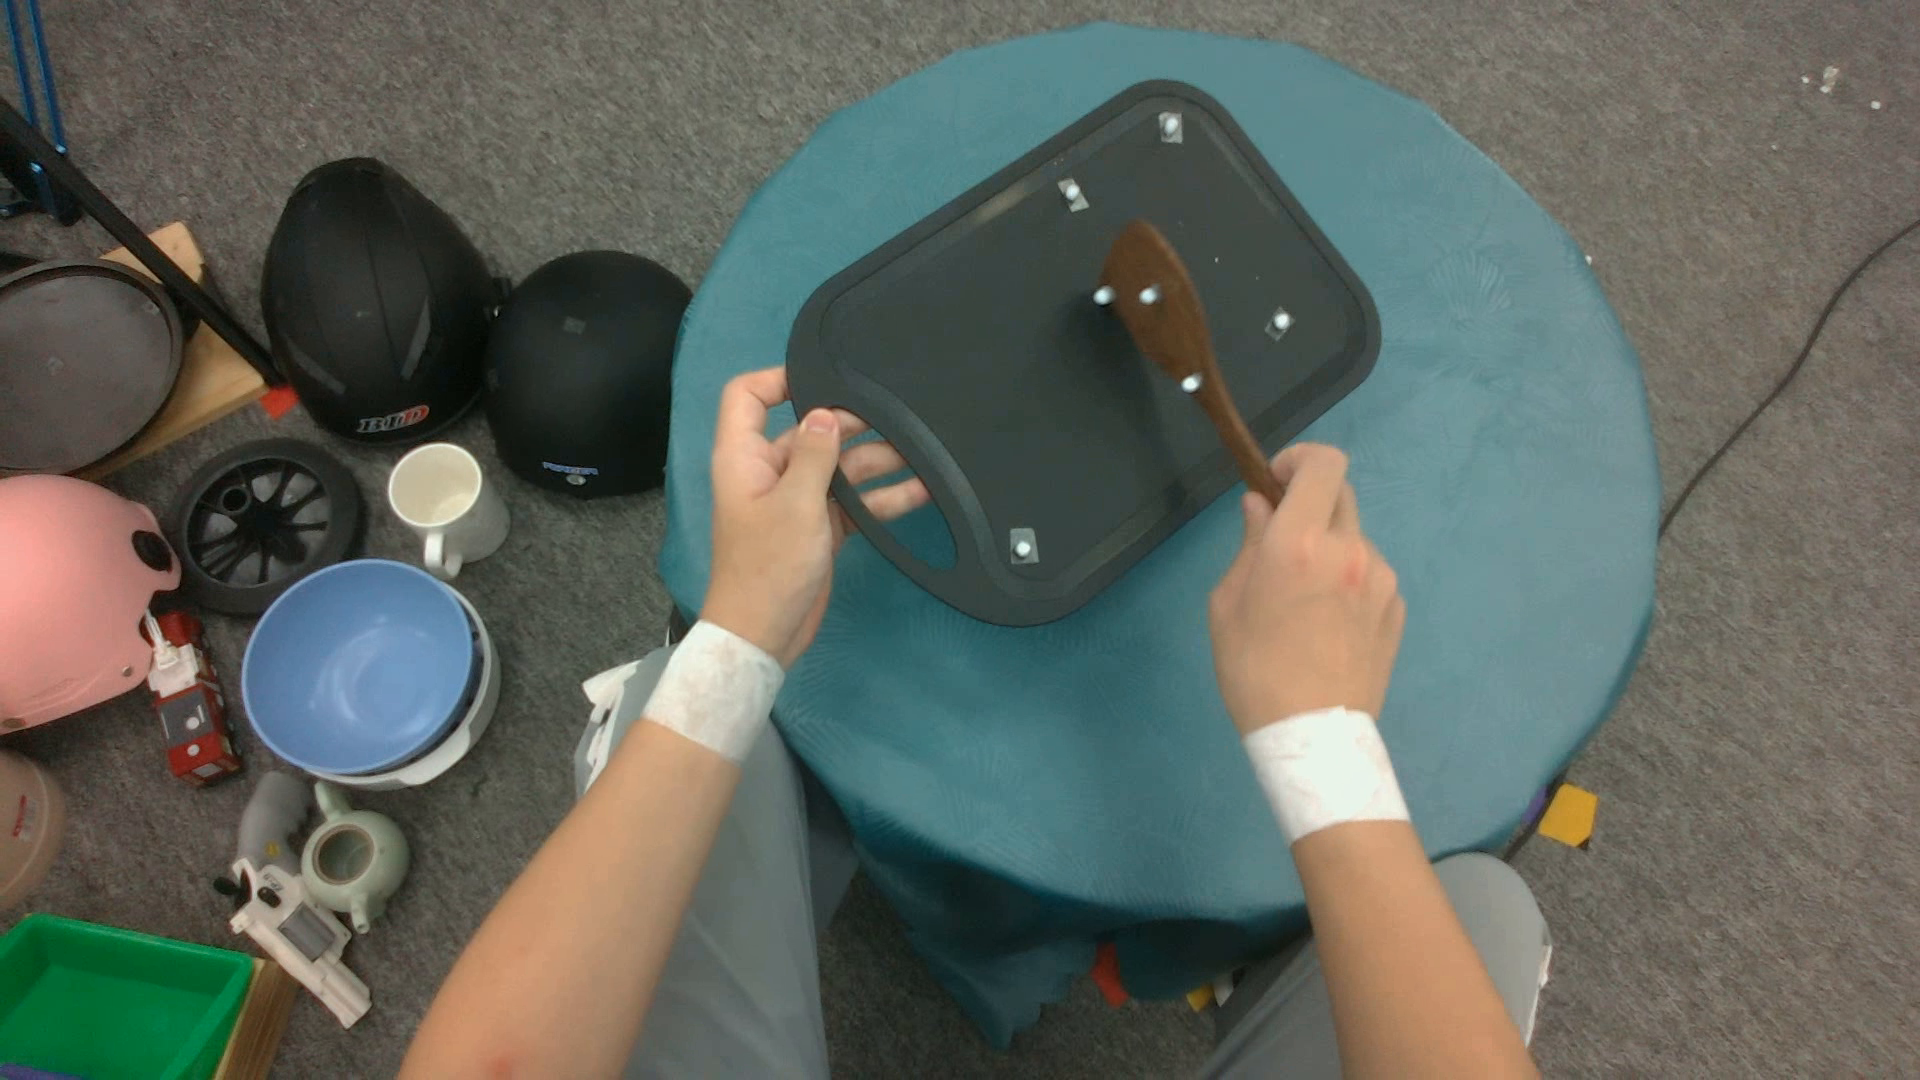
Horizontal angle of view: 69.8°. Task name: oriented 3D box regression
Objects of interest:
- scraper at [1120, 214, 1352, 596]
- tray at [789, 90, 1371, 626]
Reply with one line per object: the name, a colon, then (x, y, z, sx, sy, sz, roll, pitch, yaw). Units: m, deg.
scraper: (0.140, -0.066, 0.697, 0.011, 0.075, 0.211, -23, 76, -17)
tray: (0.069, -0.103, 0.737, 0.326, 0.010, 0.211, -37, 87, -21)
